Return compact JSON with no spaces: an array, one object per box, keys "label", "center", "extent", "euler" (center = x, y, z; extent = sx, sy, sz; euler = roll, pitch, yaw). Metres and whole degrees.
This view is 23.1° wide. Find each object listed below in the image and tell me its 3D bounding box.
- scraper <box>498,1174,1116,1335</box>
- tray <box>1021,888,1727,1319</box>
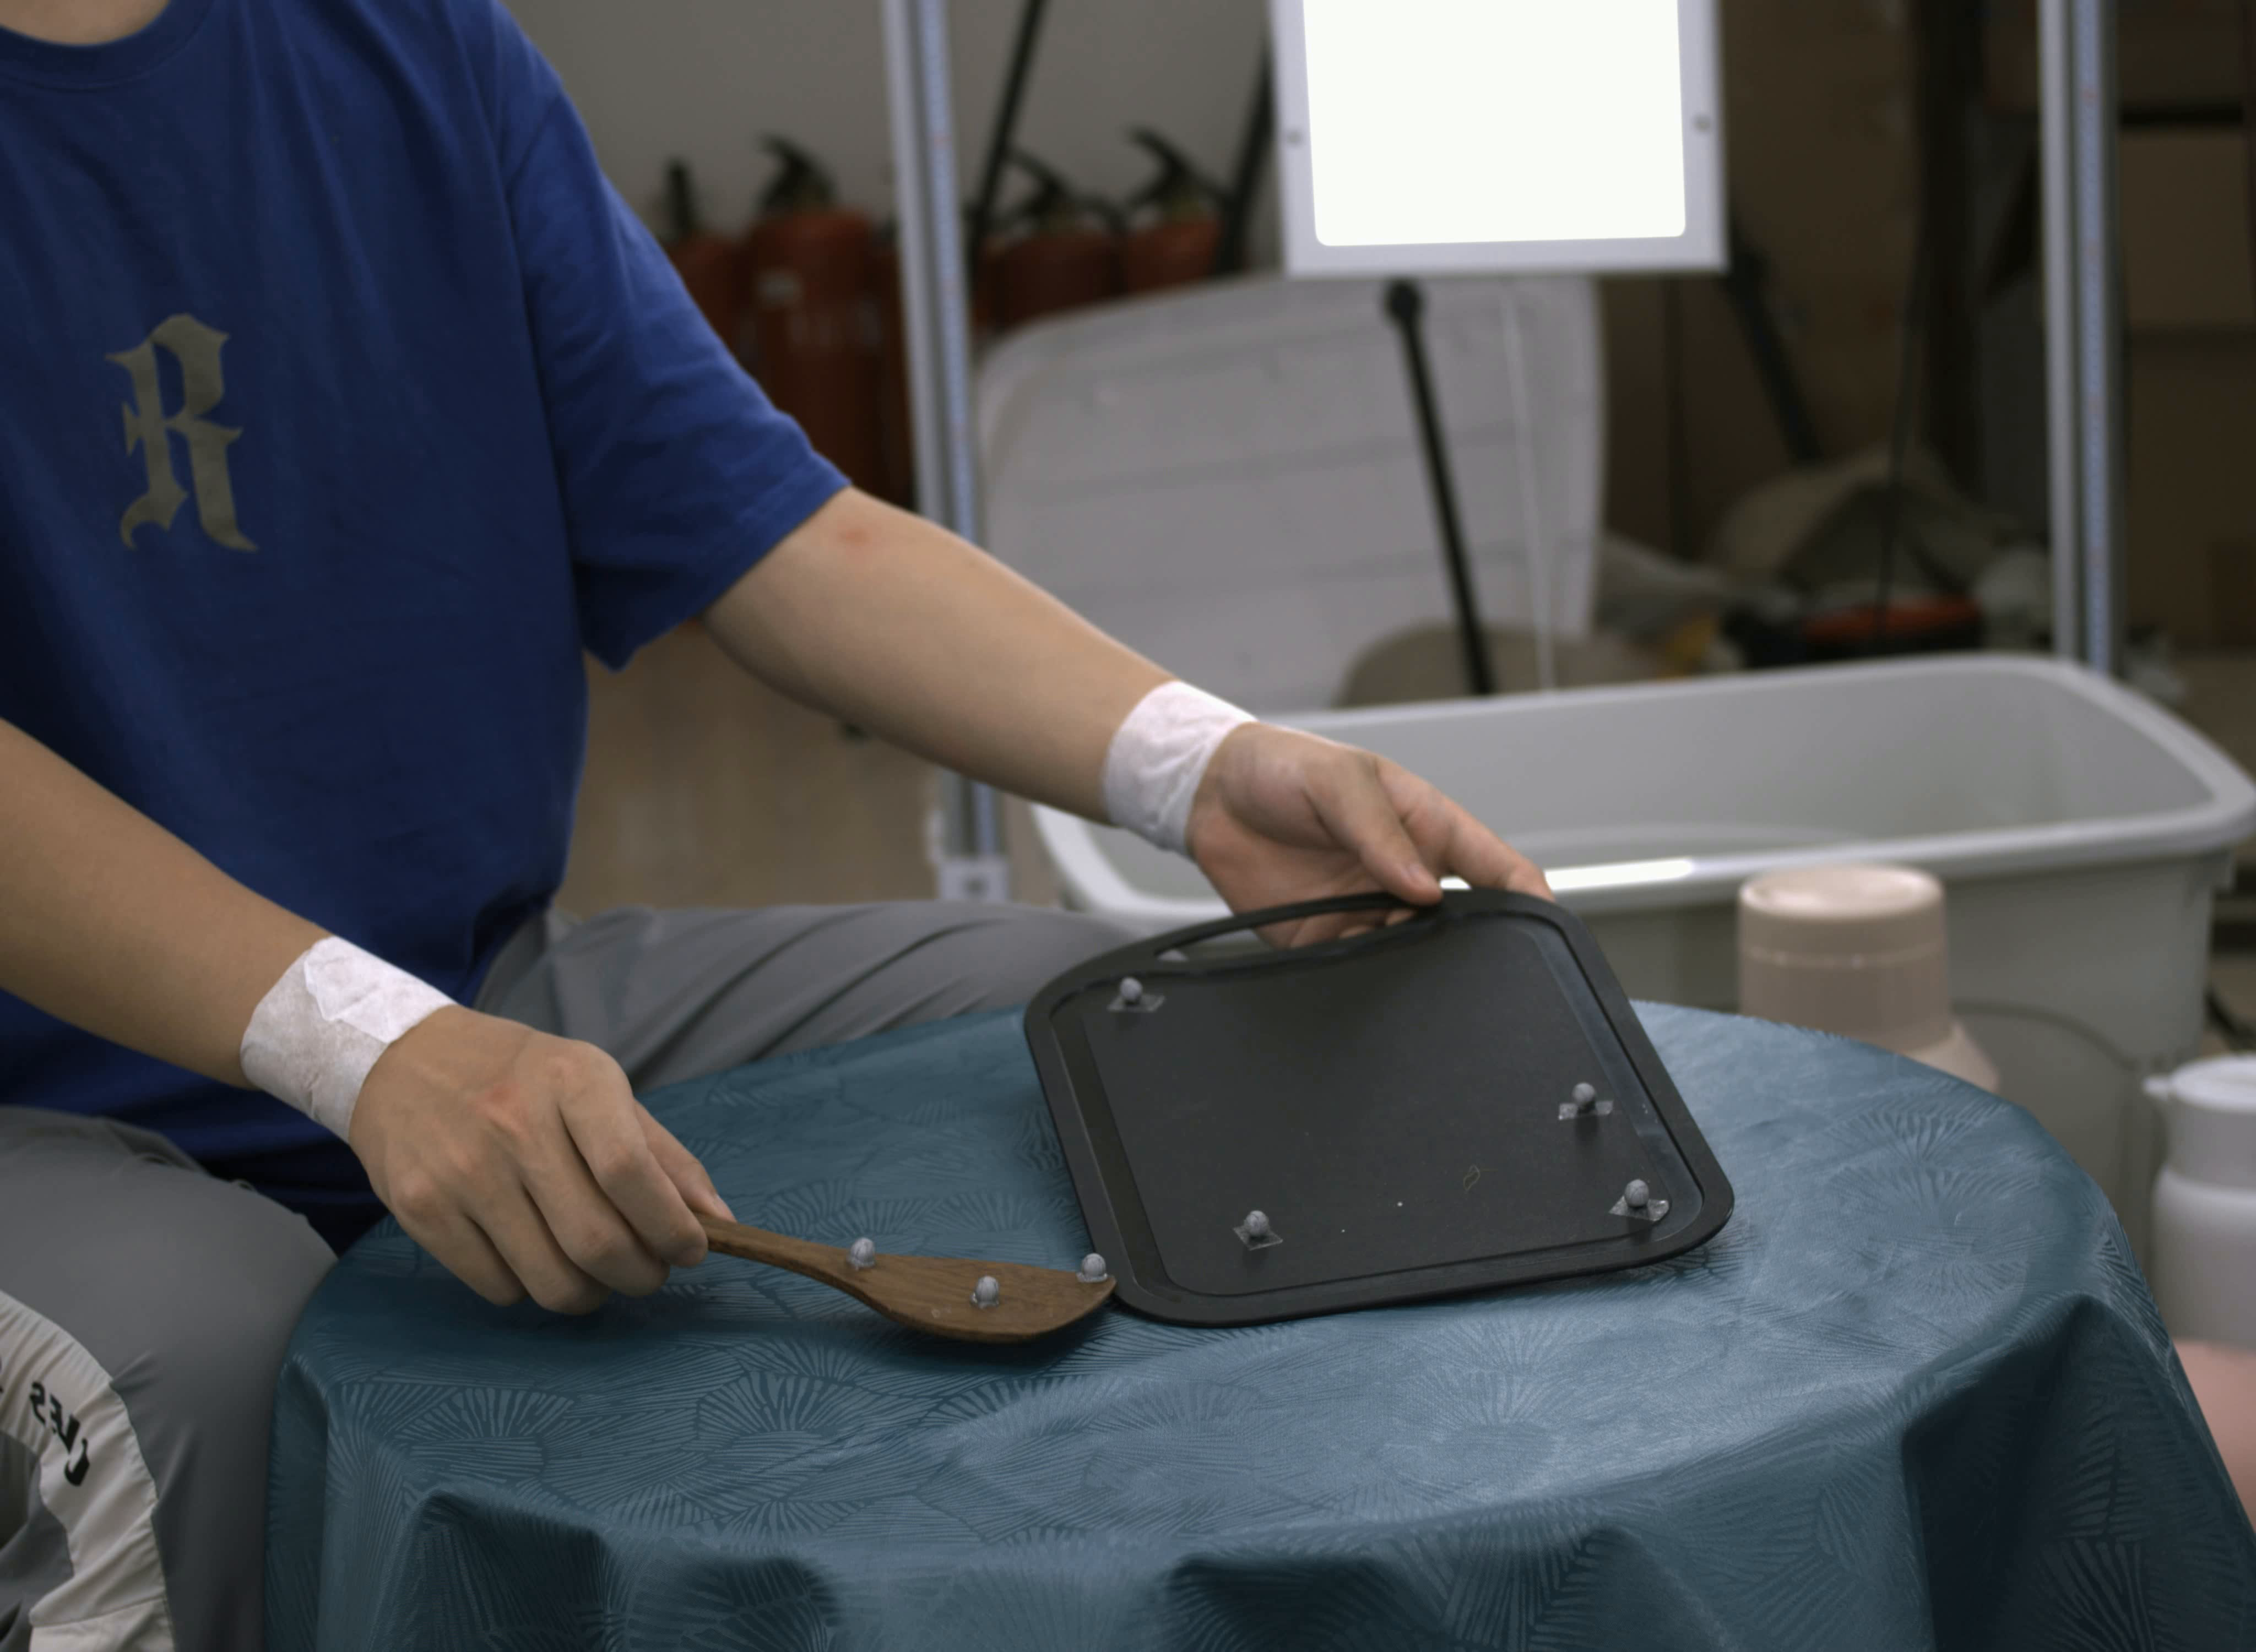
[{"label":"scraper","center":[-0.108,0.137,1.792],"extent":[0.214,0.011,0.074],"euler":[11,13,23]},{"label":"tray","center":[0.077,0.087,1.902],"extent":[0.210,0.010,0.326],"euler":[-9,23,-4]}]
